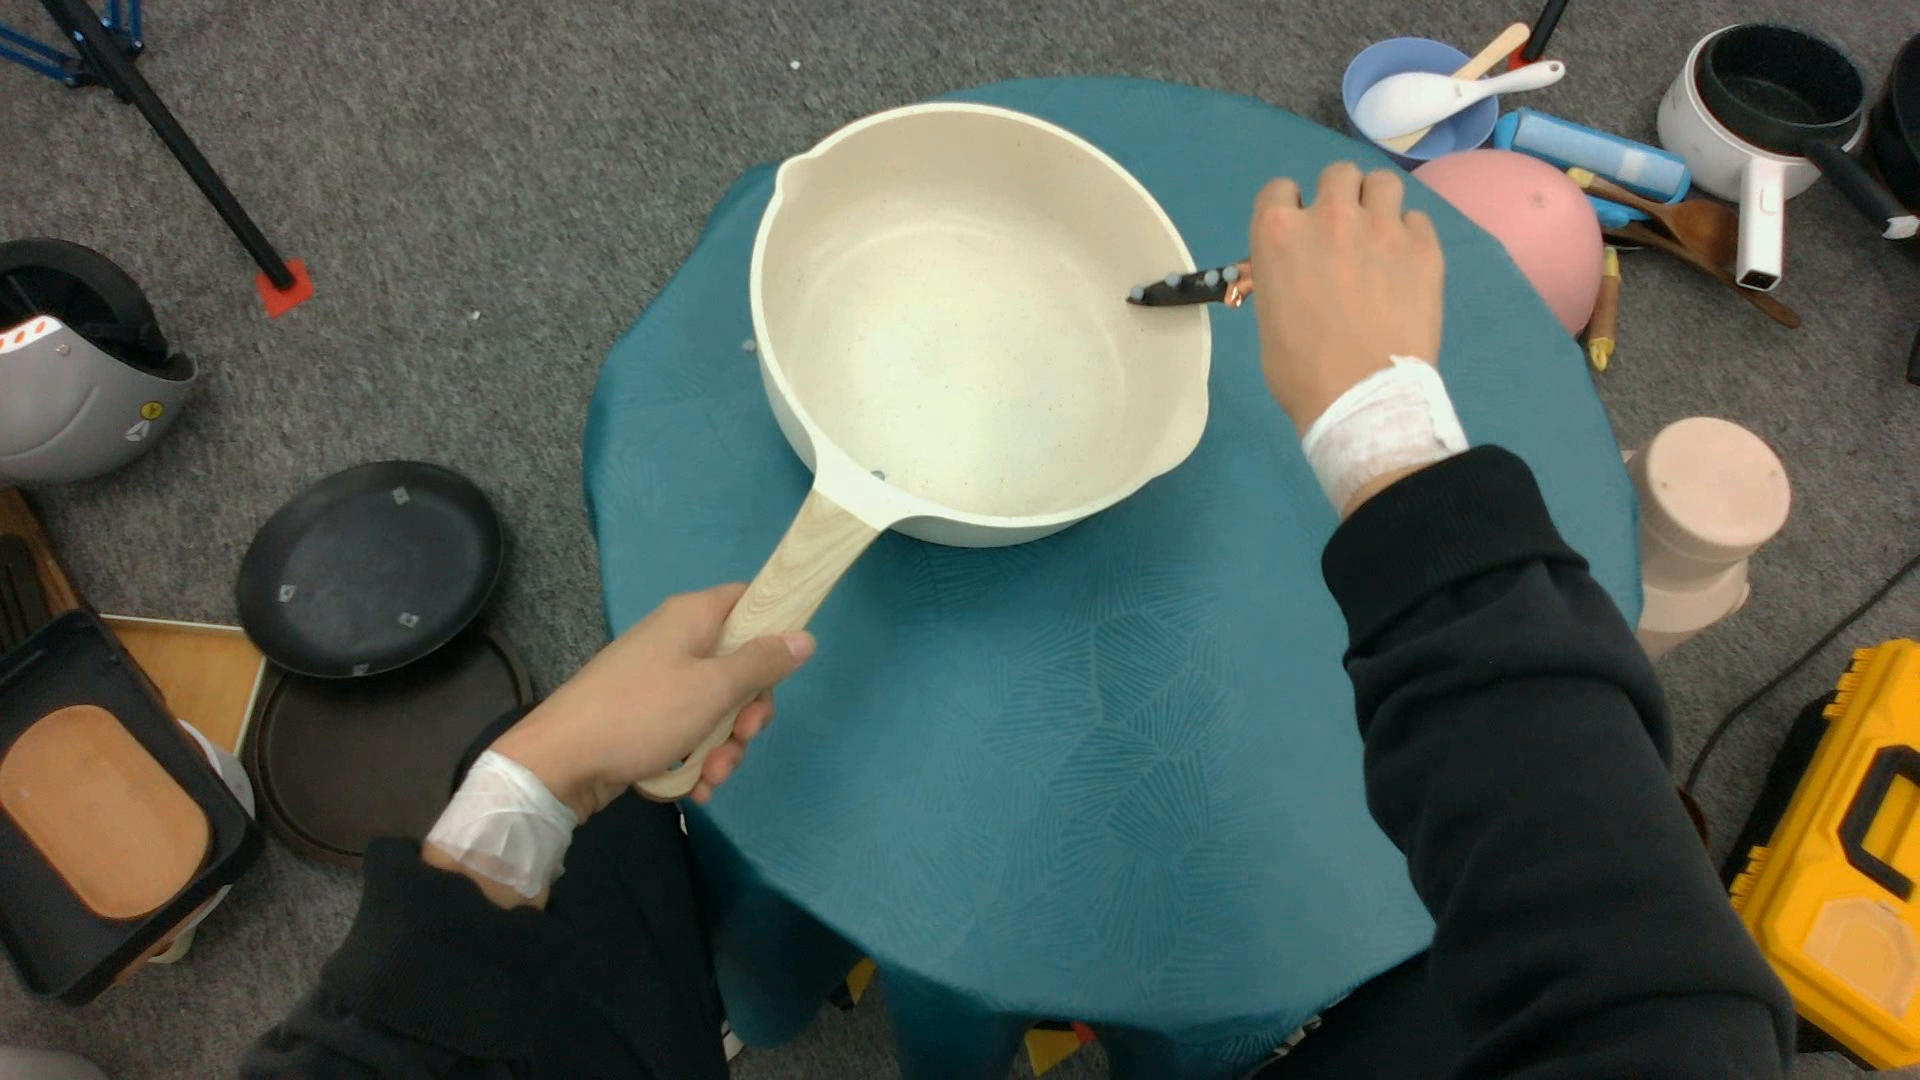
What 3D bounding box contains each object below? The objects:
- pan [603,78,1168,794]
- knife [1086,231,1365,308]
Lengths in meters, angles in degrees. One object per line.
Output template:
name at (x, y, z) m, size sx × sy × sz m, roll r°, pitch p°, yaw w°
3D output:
pan at (-0.057, -0.054, 0.713) m, size 0.263 × 0.101 × 0.436 m, roll 33°, pitch 65°, yaw -4°
knife at (0.128, -0.140, 0.722) m, size 0.017 × 0.225 × 0.026 m, roll 8°, pitch 91°, yaw -28°
